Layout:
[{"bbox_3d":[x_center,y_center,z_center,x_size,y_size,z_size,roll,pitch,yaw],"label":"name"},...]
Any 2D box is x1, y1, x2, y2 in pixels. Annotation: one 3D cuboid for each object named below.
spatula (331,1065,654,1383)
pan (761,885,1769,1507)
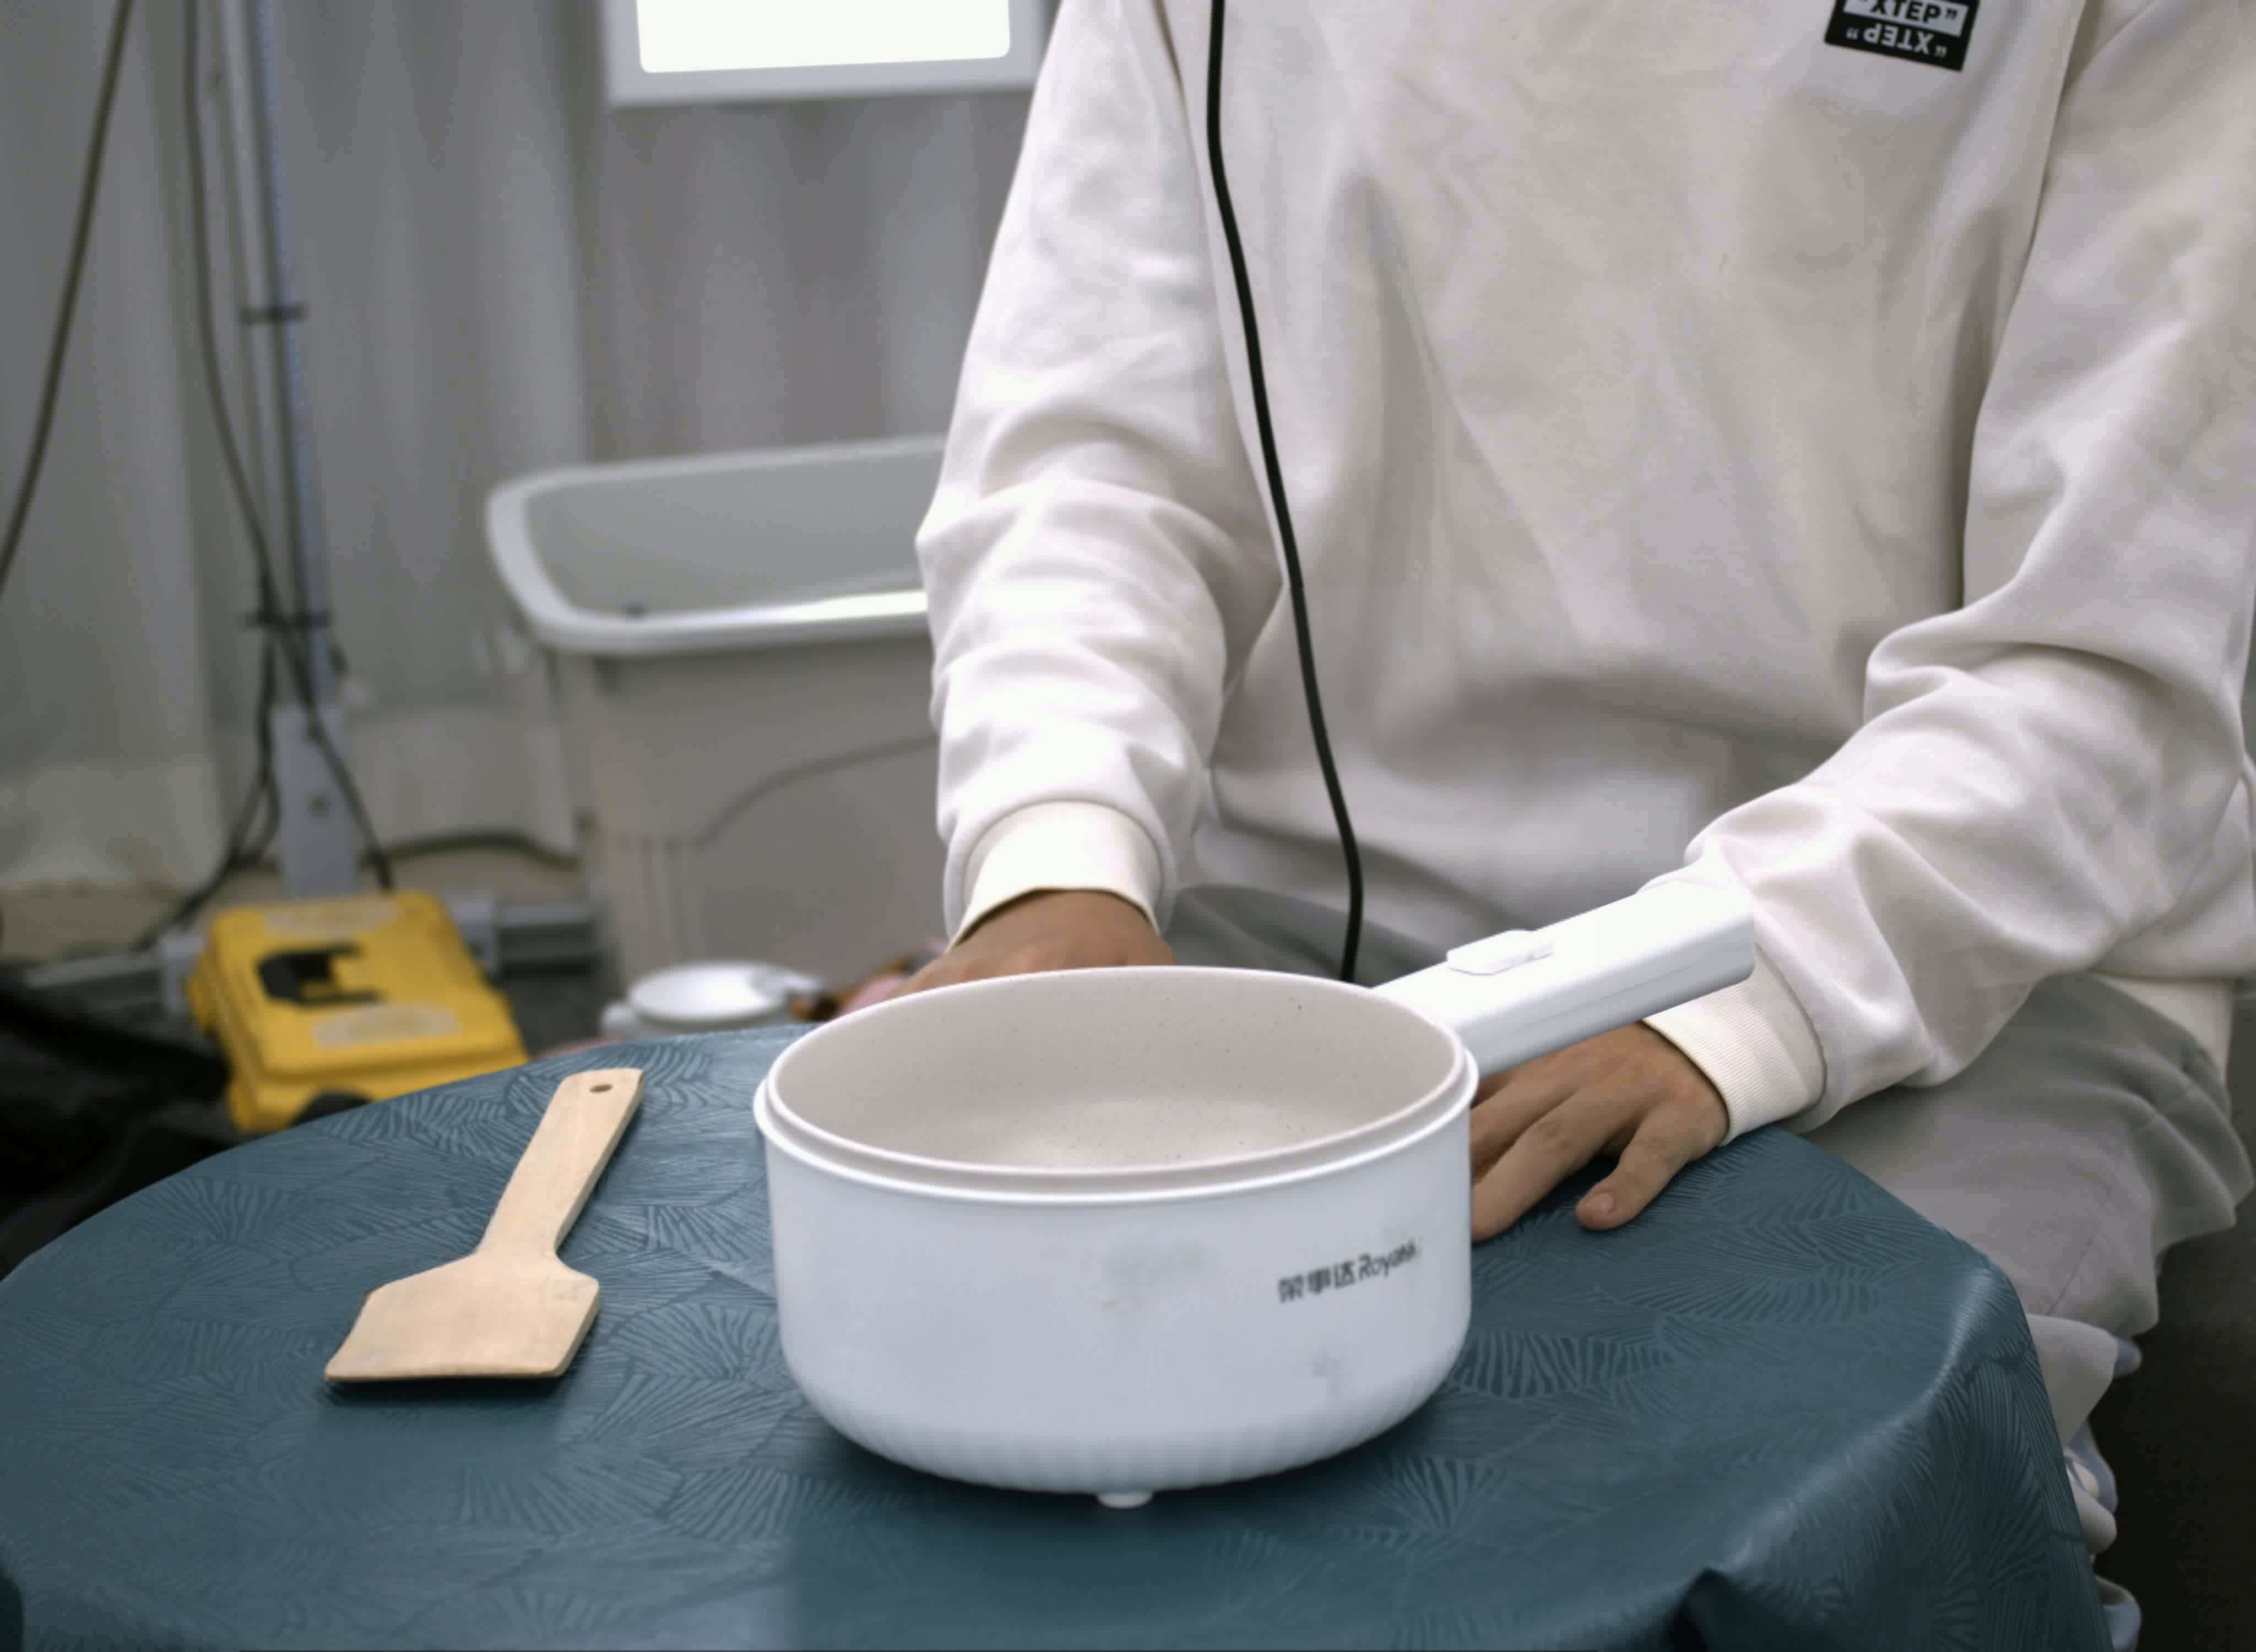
[{"bbox_3d":[-0.185,0.122,1.706,0.072,0.010,0.295,-3,15,5],"label":"spatula"},{"bbox_3d":[0.055,0.099,1.575,0.354,0.102,0.202,-15,18,-42],"label":"pan"}]
